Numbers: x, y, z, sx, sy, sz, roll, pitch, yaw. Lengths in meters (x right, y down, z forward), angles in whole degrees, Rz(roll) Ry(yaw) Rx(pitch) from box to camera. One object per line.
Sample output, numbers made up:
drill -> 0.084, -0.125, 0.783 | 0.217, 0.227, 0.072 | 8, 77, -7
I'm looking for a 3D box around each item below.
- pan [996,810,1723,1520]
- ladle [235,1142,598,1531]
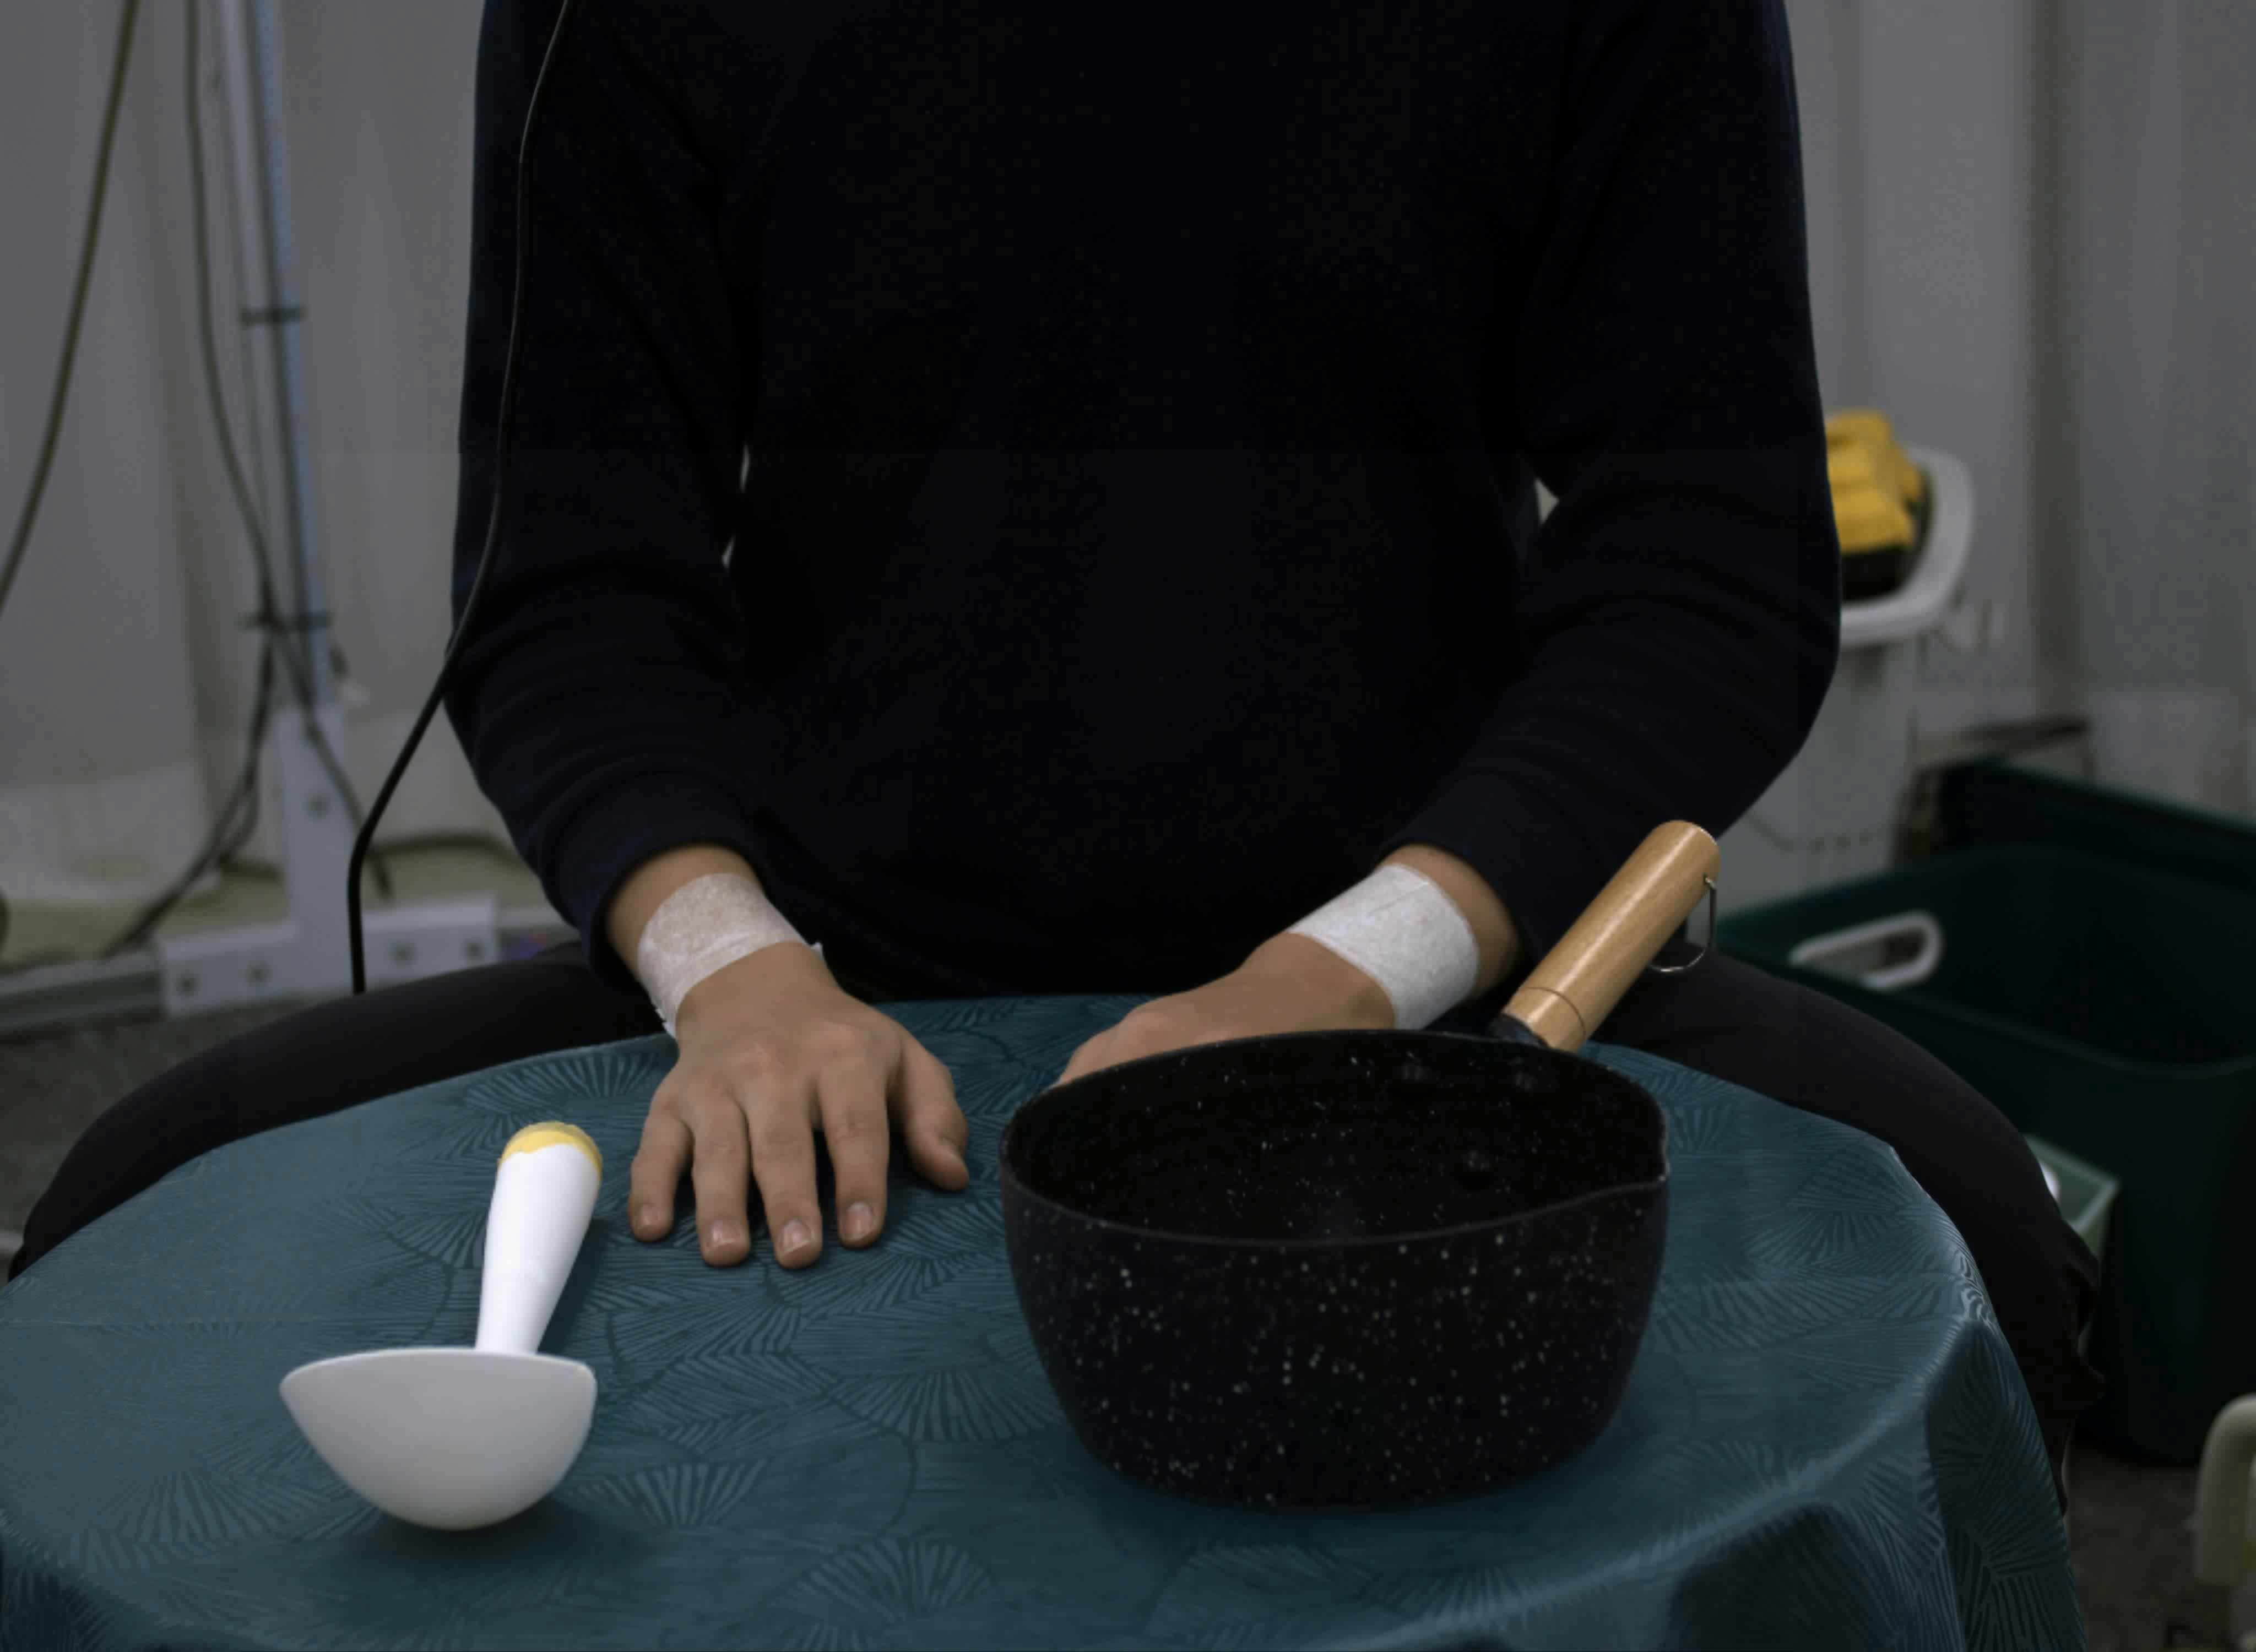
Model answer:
pan -> 0.094, 0.092, 1.574 | 0.208, 0.108, 0.343 | 4, 18, 28
ladle -> -0.188, 0.131, 1.570 | 0.090, 0.069, 0.295 | -9, 14, 4
